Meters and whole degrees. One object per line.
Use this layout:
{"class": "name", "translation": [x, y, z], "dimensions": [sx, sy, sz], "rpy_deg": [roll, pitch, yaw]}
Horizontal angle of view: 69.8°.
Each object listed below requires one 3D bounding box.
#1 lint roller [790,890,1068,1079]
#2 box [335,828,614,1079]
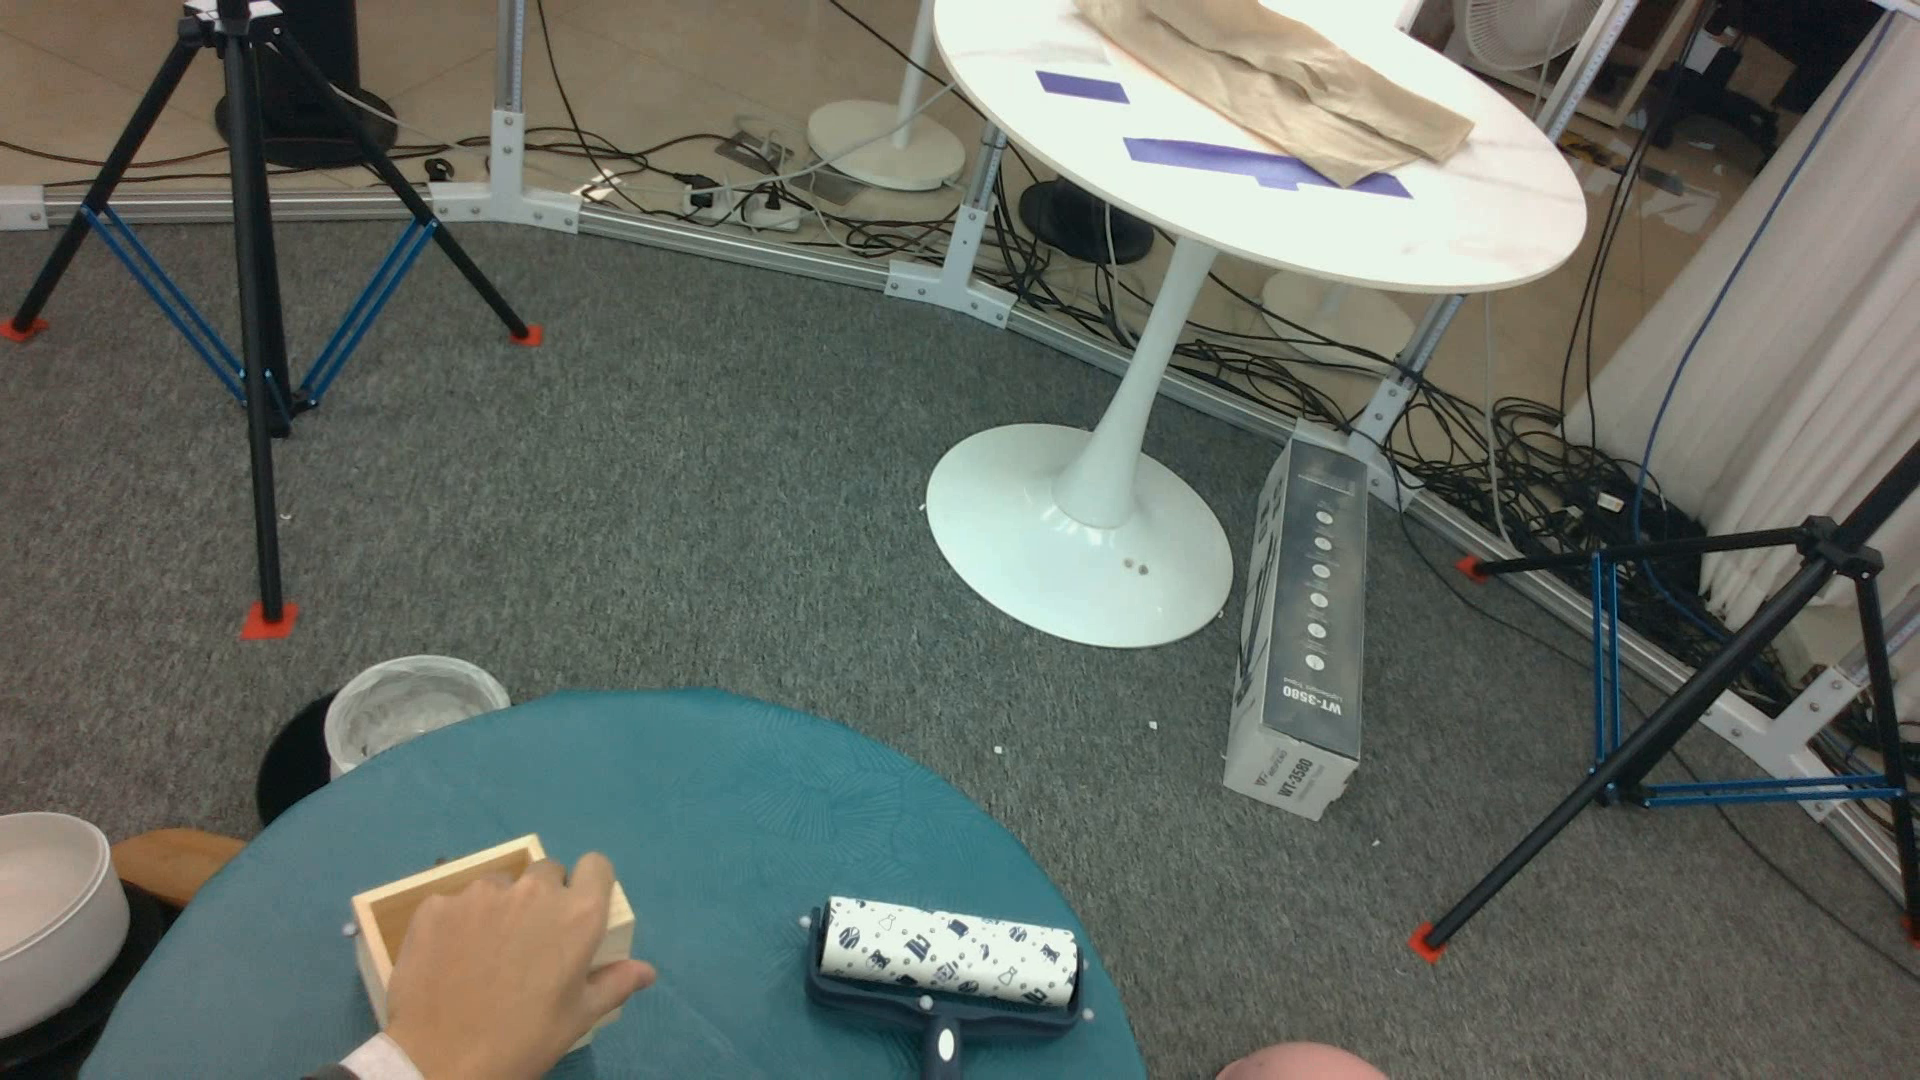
{"class": "lint roller", "translation": [-0.018, 0.327, 0.801], "dimensions": [0.176, 0.050, 0.248], "rpy_deg": [11, 43, -11]}
{"class": "box", "translation": [-0.262, 0.208, 0.730], "dimensions": [0.103, 0.183, 0.134], "rpy_deg": [-17, 54, -33]}
